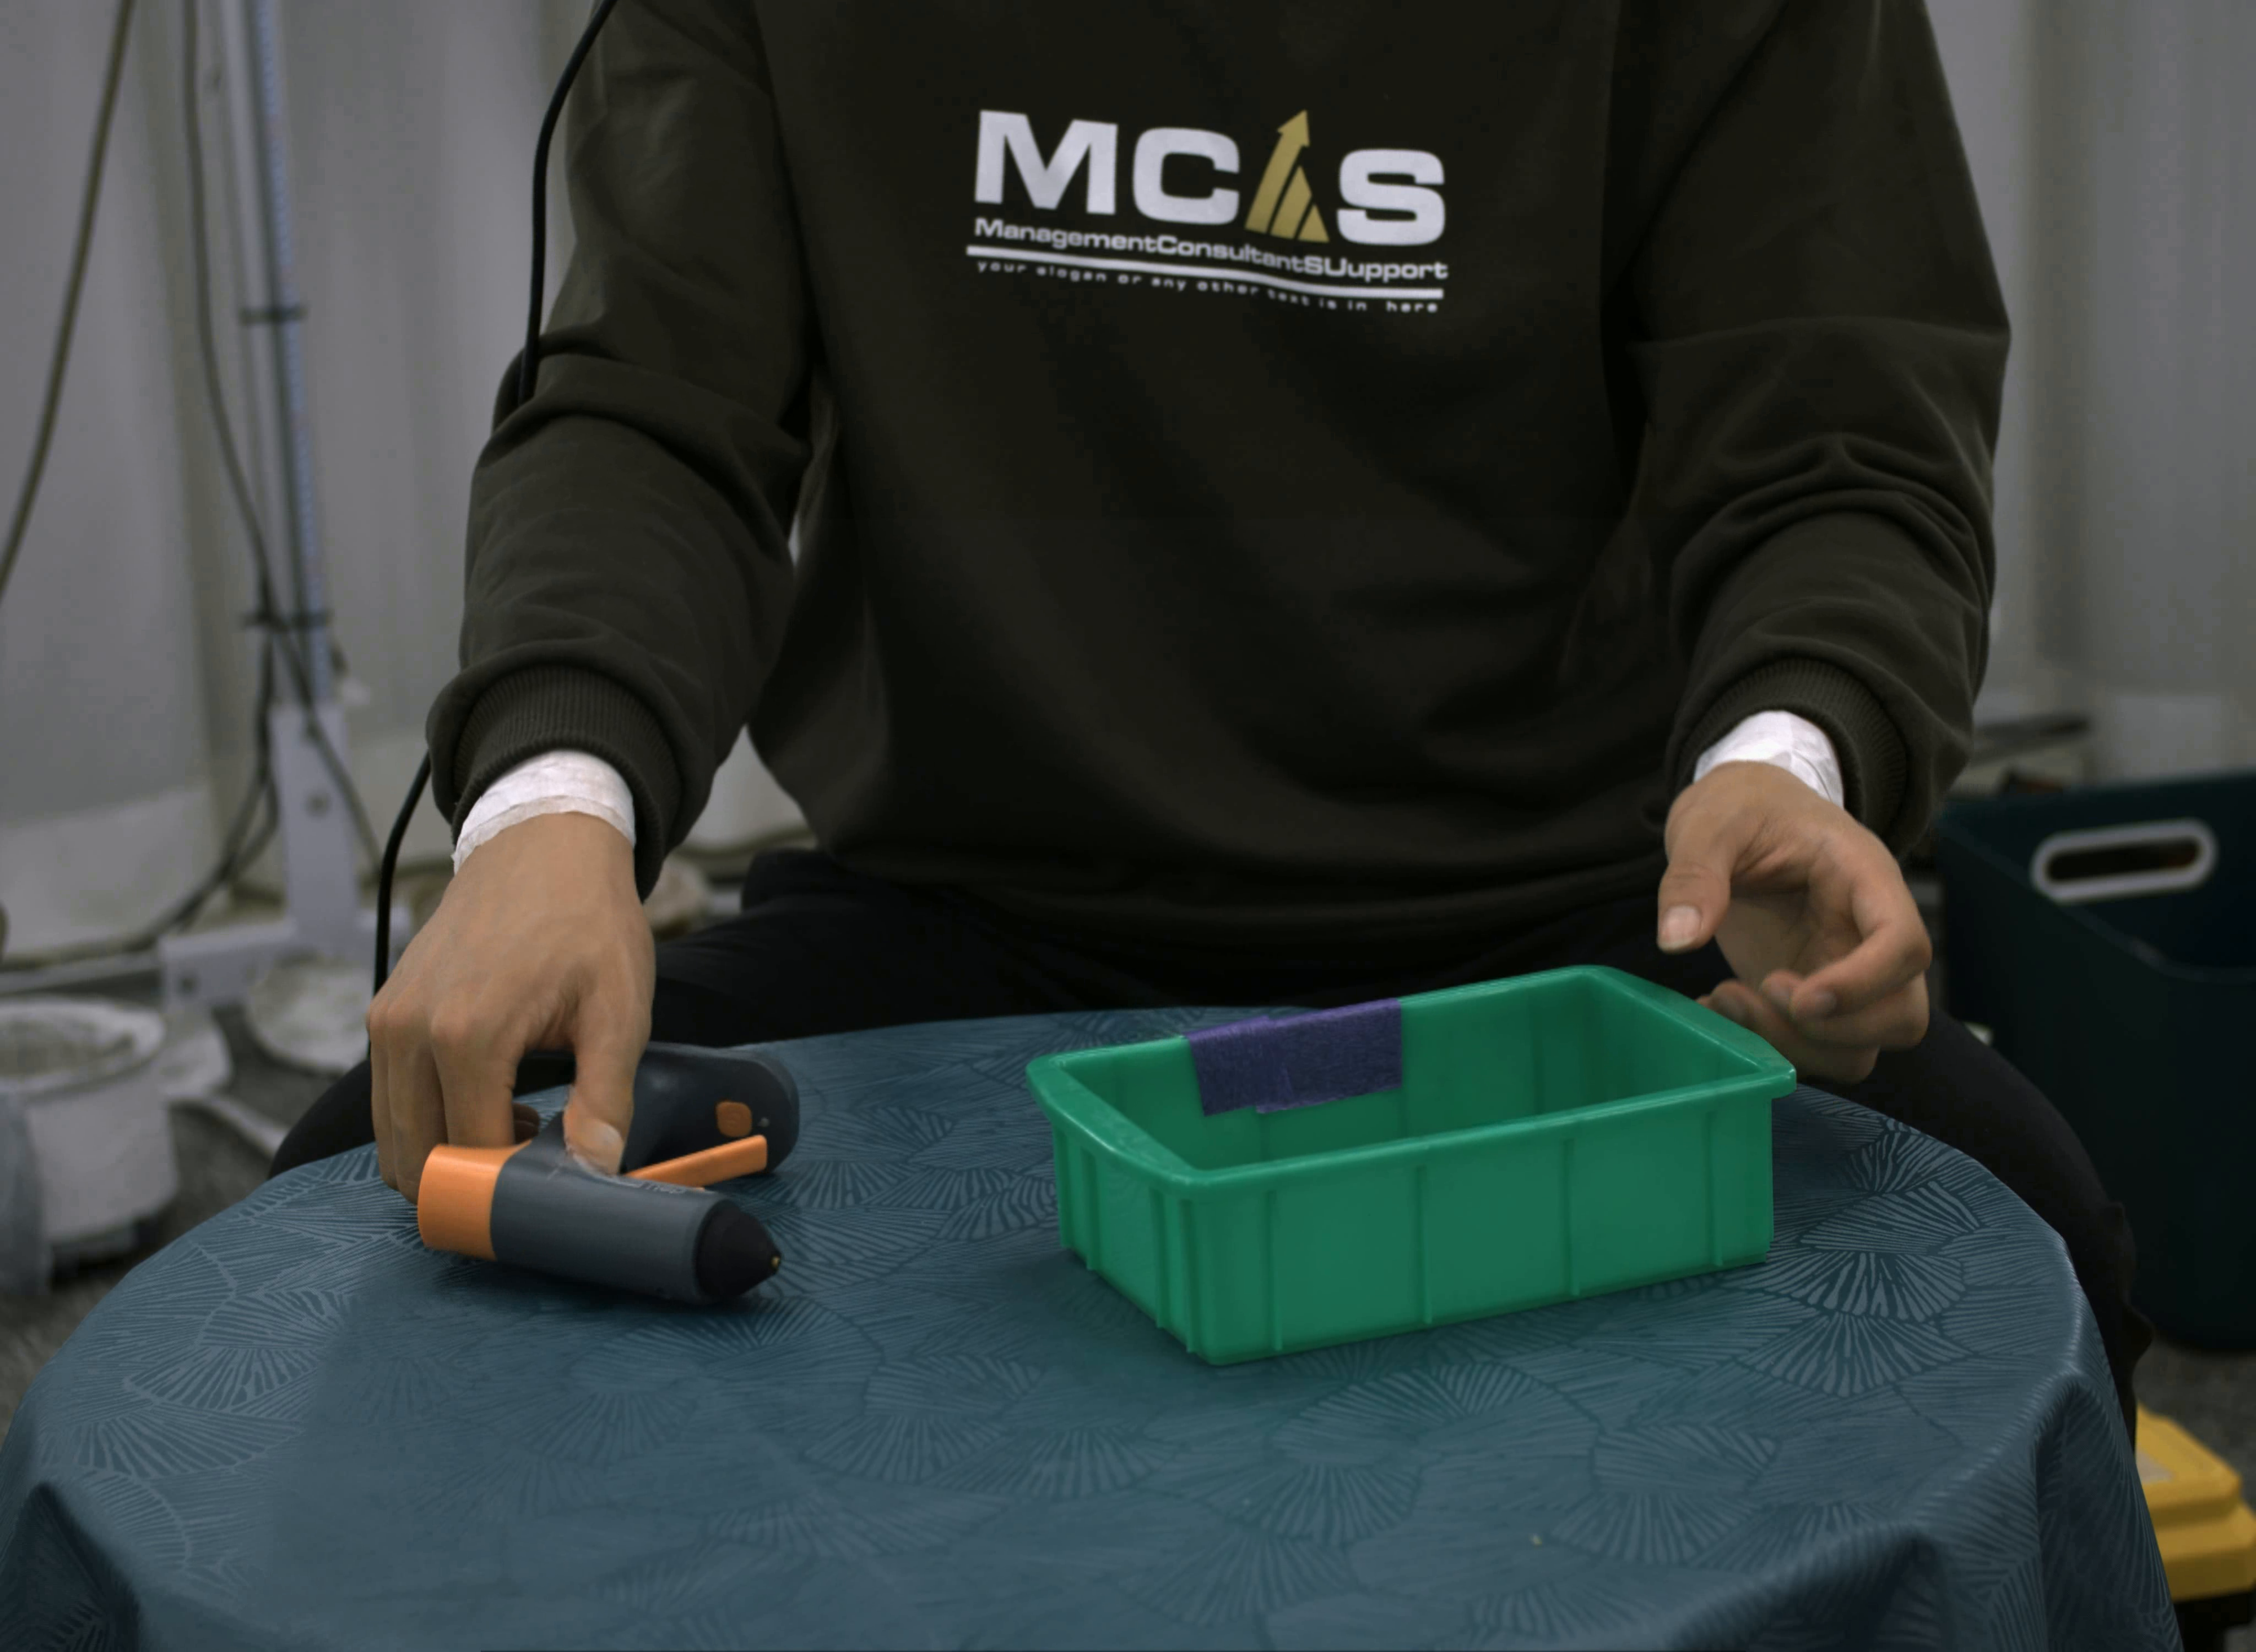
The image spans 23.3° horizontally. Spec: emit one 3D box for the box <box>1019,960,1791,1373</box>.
[{"bbox_3d":[0.083,0.101,1.633,0.209,0.065,0.139,-11,15,-20],"label":"box"}]

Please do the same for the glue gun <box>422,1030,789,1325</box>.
[{"bbox_3d":[-0.149,0.110,1.691,0.118,0.041,0.140,13,18,6],"label":"glue gun"}]
